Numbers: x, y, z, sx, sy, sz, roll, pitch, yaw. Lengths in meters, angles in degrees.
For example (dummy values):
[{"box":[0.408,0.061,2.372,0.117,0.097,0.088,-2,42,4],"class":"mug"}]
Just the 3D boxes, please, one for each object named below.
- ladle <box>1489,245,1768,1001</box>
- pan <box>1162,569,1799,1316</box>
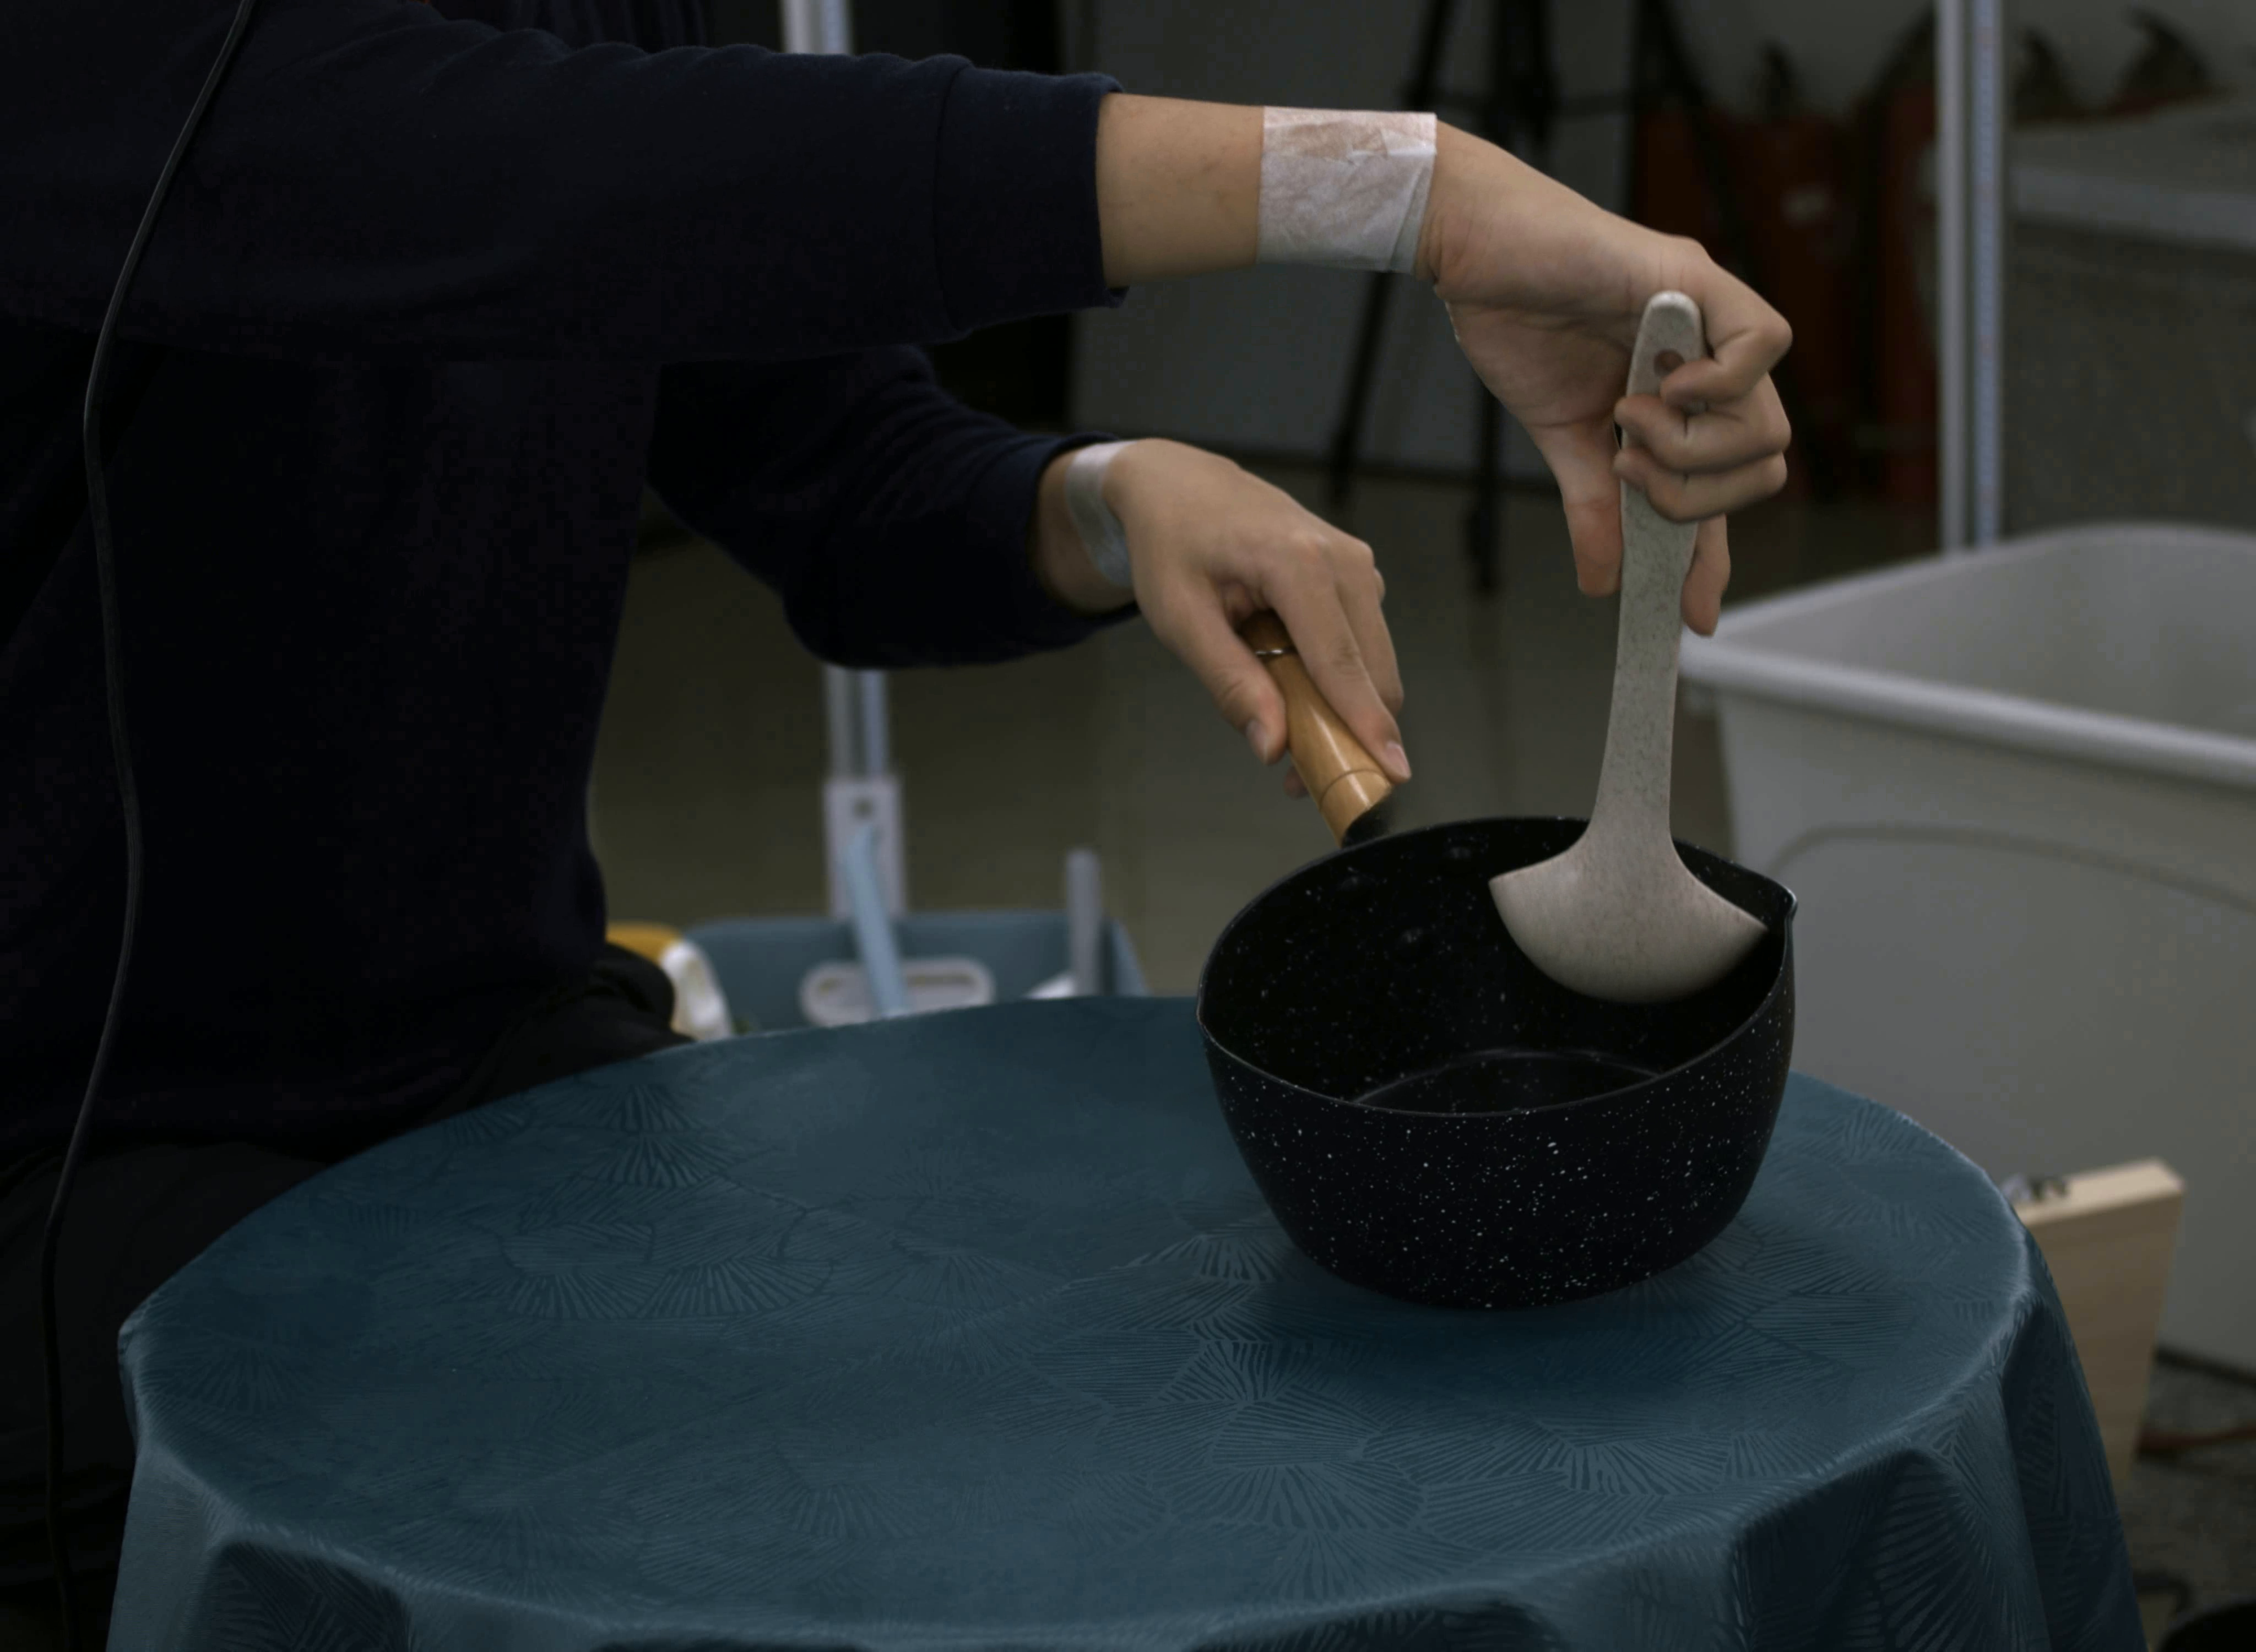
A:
[{"box":[0.157,-0.065,1.619,0.089,0.277,0.069,11,36,15],"class":"ladle"},{"box":[0.092,0.032,1.742,0.204,0.109,0.346,-16,30,-11],"class":"pan"}]
